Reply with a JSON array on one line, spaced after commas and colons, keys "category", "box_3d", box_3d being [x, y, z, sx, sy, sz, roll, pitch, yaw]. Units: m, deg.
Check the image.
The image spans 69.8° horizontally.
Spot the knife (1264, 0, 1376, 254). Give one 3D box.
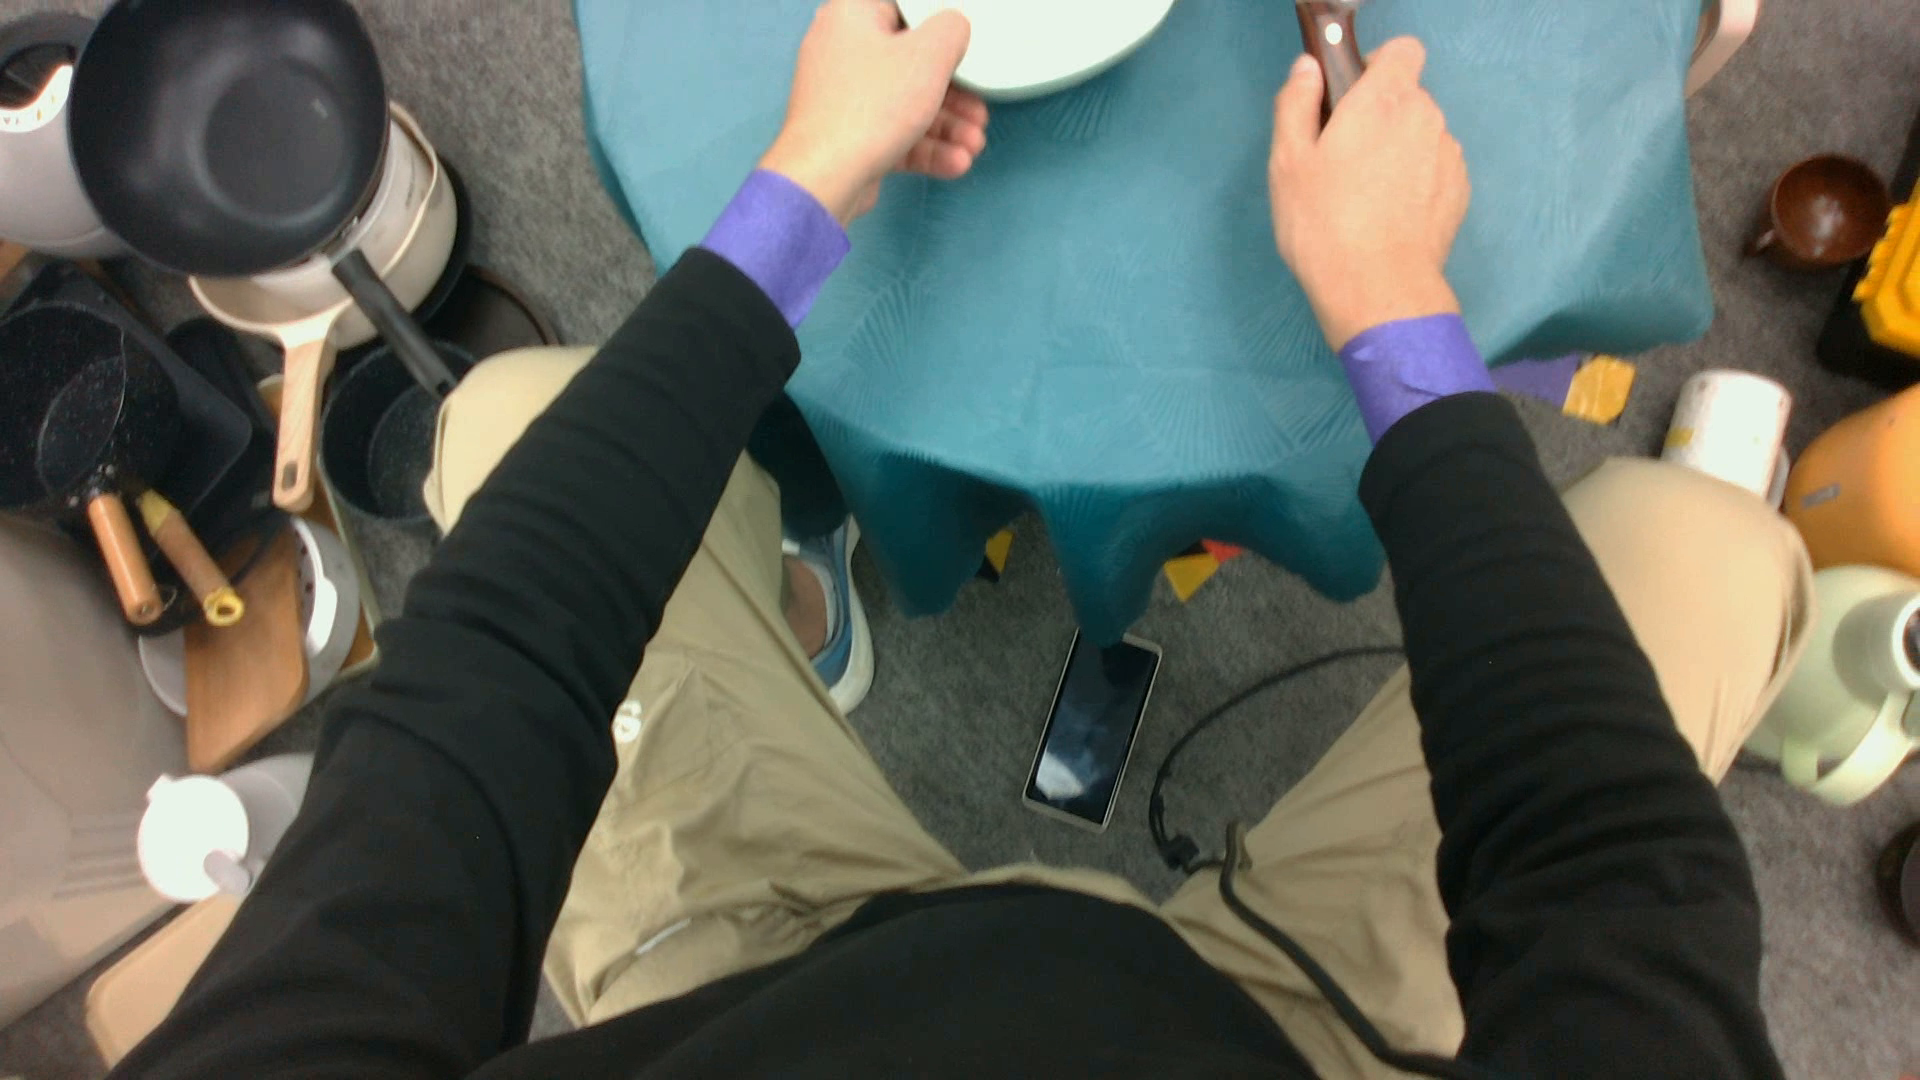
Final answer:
[{"category": "knife", "box_3d": [0.170, -0.284, 0.684, 0.050, 0.020, 0.289, -8, 85, -1]}]

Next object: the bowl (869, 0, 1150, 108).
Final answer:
[{"category": "bowl", "box_3d": [0.025, -0.280, 0.710, 0.151, 0.058, 0.152, -1, 76, 5]}]
